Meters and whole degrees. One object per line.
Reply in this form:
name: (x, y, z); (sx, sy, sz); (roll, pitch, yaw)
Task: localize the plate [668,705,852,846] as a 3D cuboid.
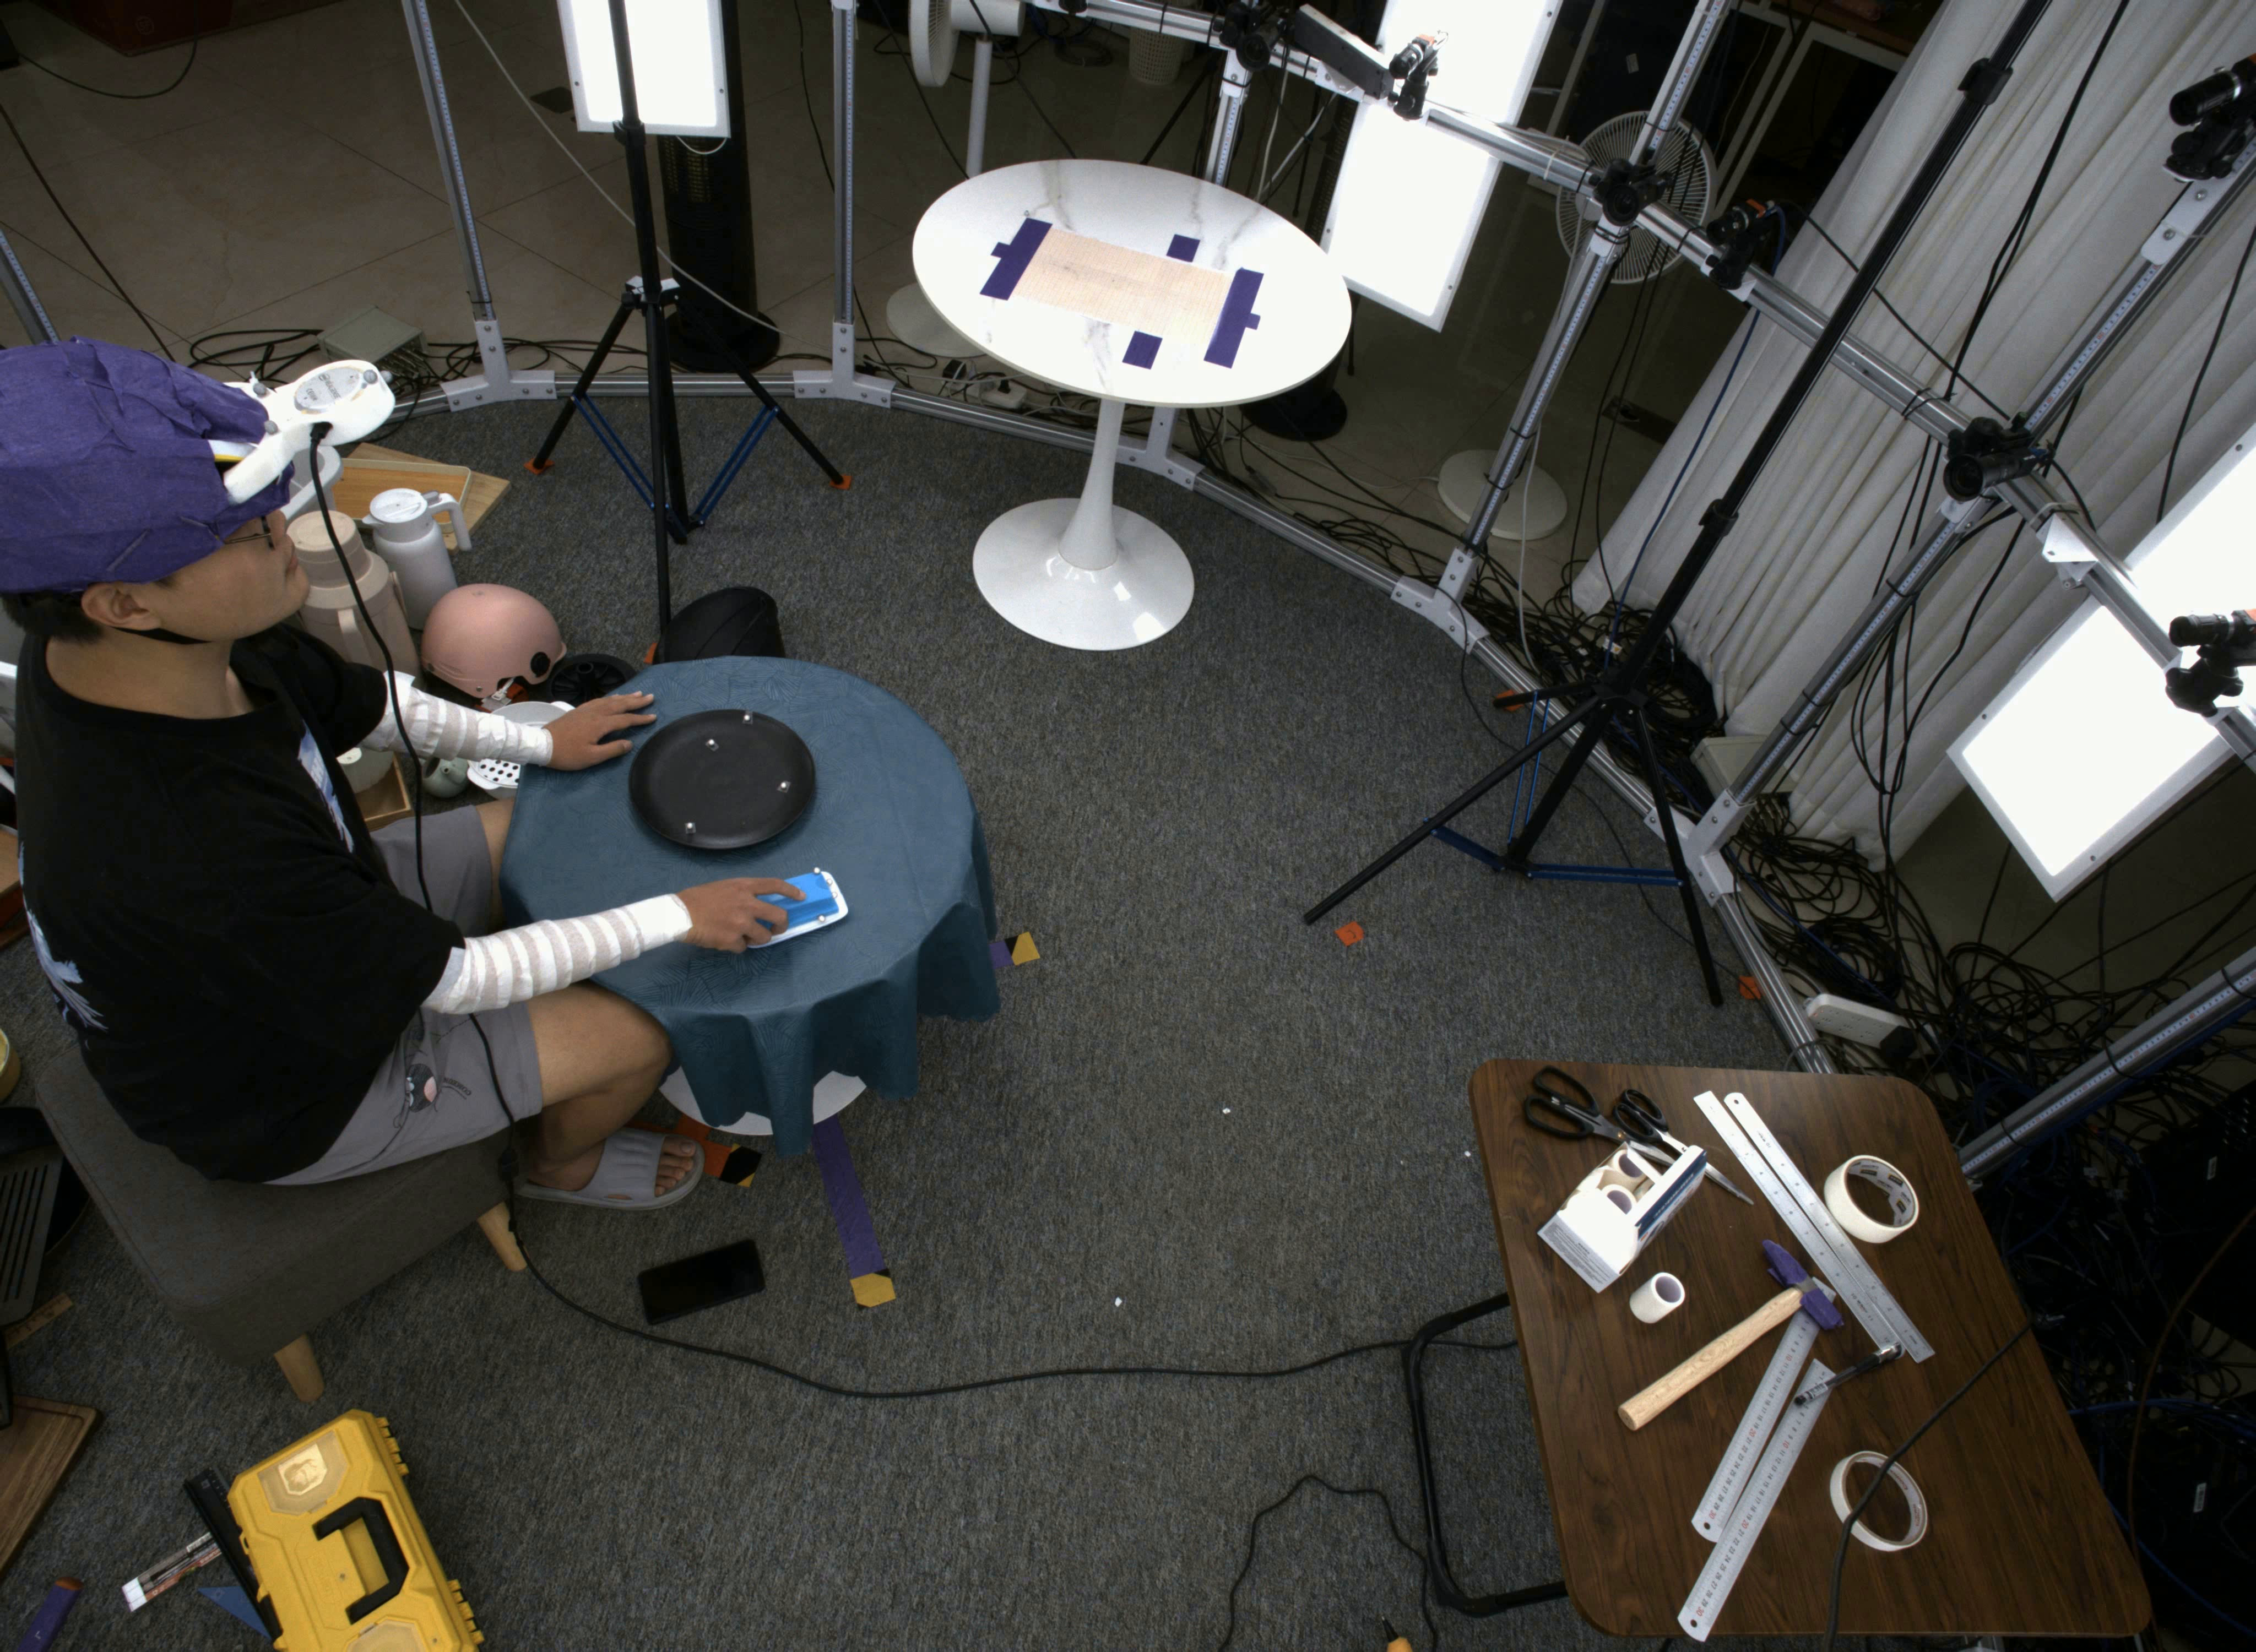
plate: (-0.497, -0.067, 1.750); (0.244, 0.024, 0.240); (8, 53, -9)

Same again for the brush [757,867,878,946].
brush: (-0.391, 0.092, 1.634); (0.145, 0.057, 0.081); (-16, 55, -28)
